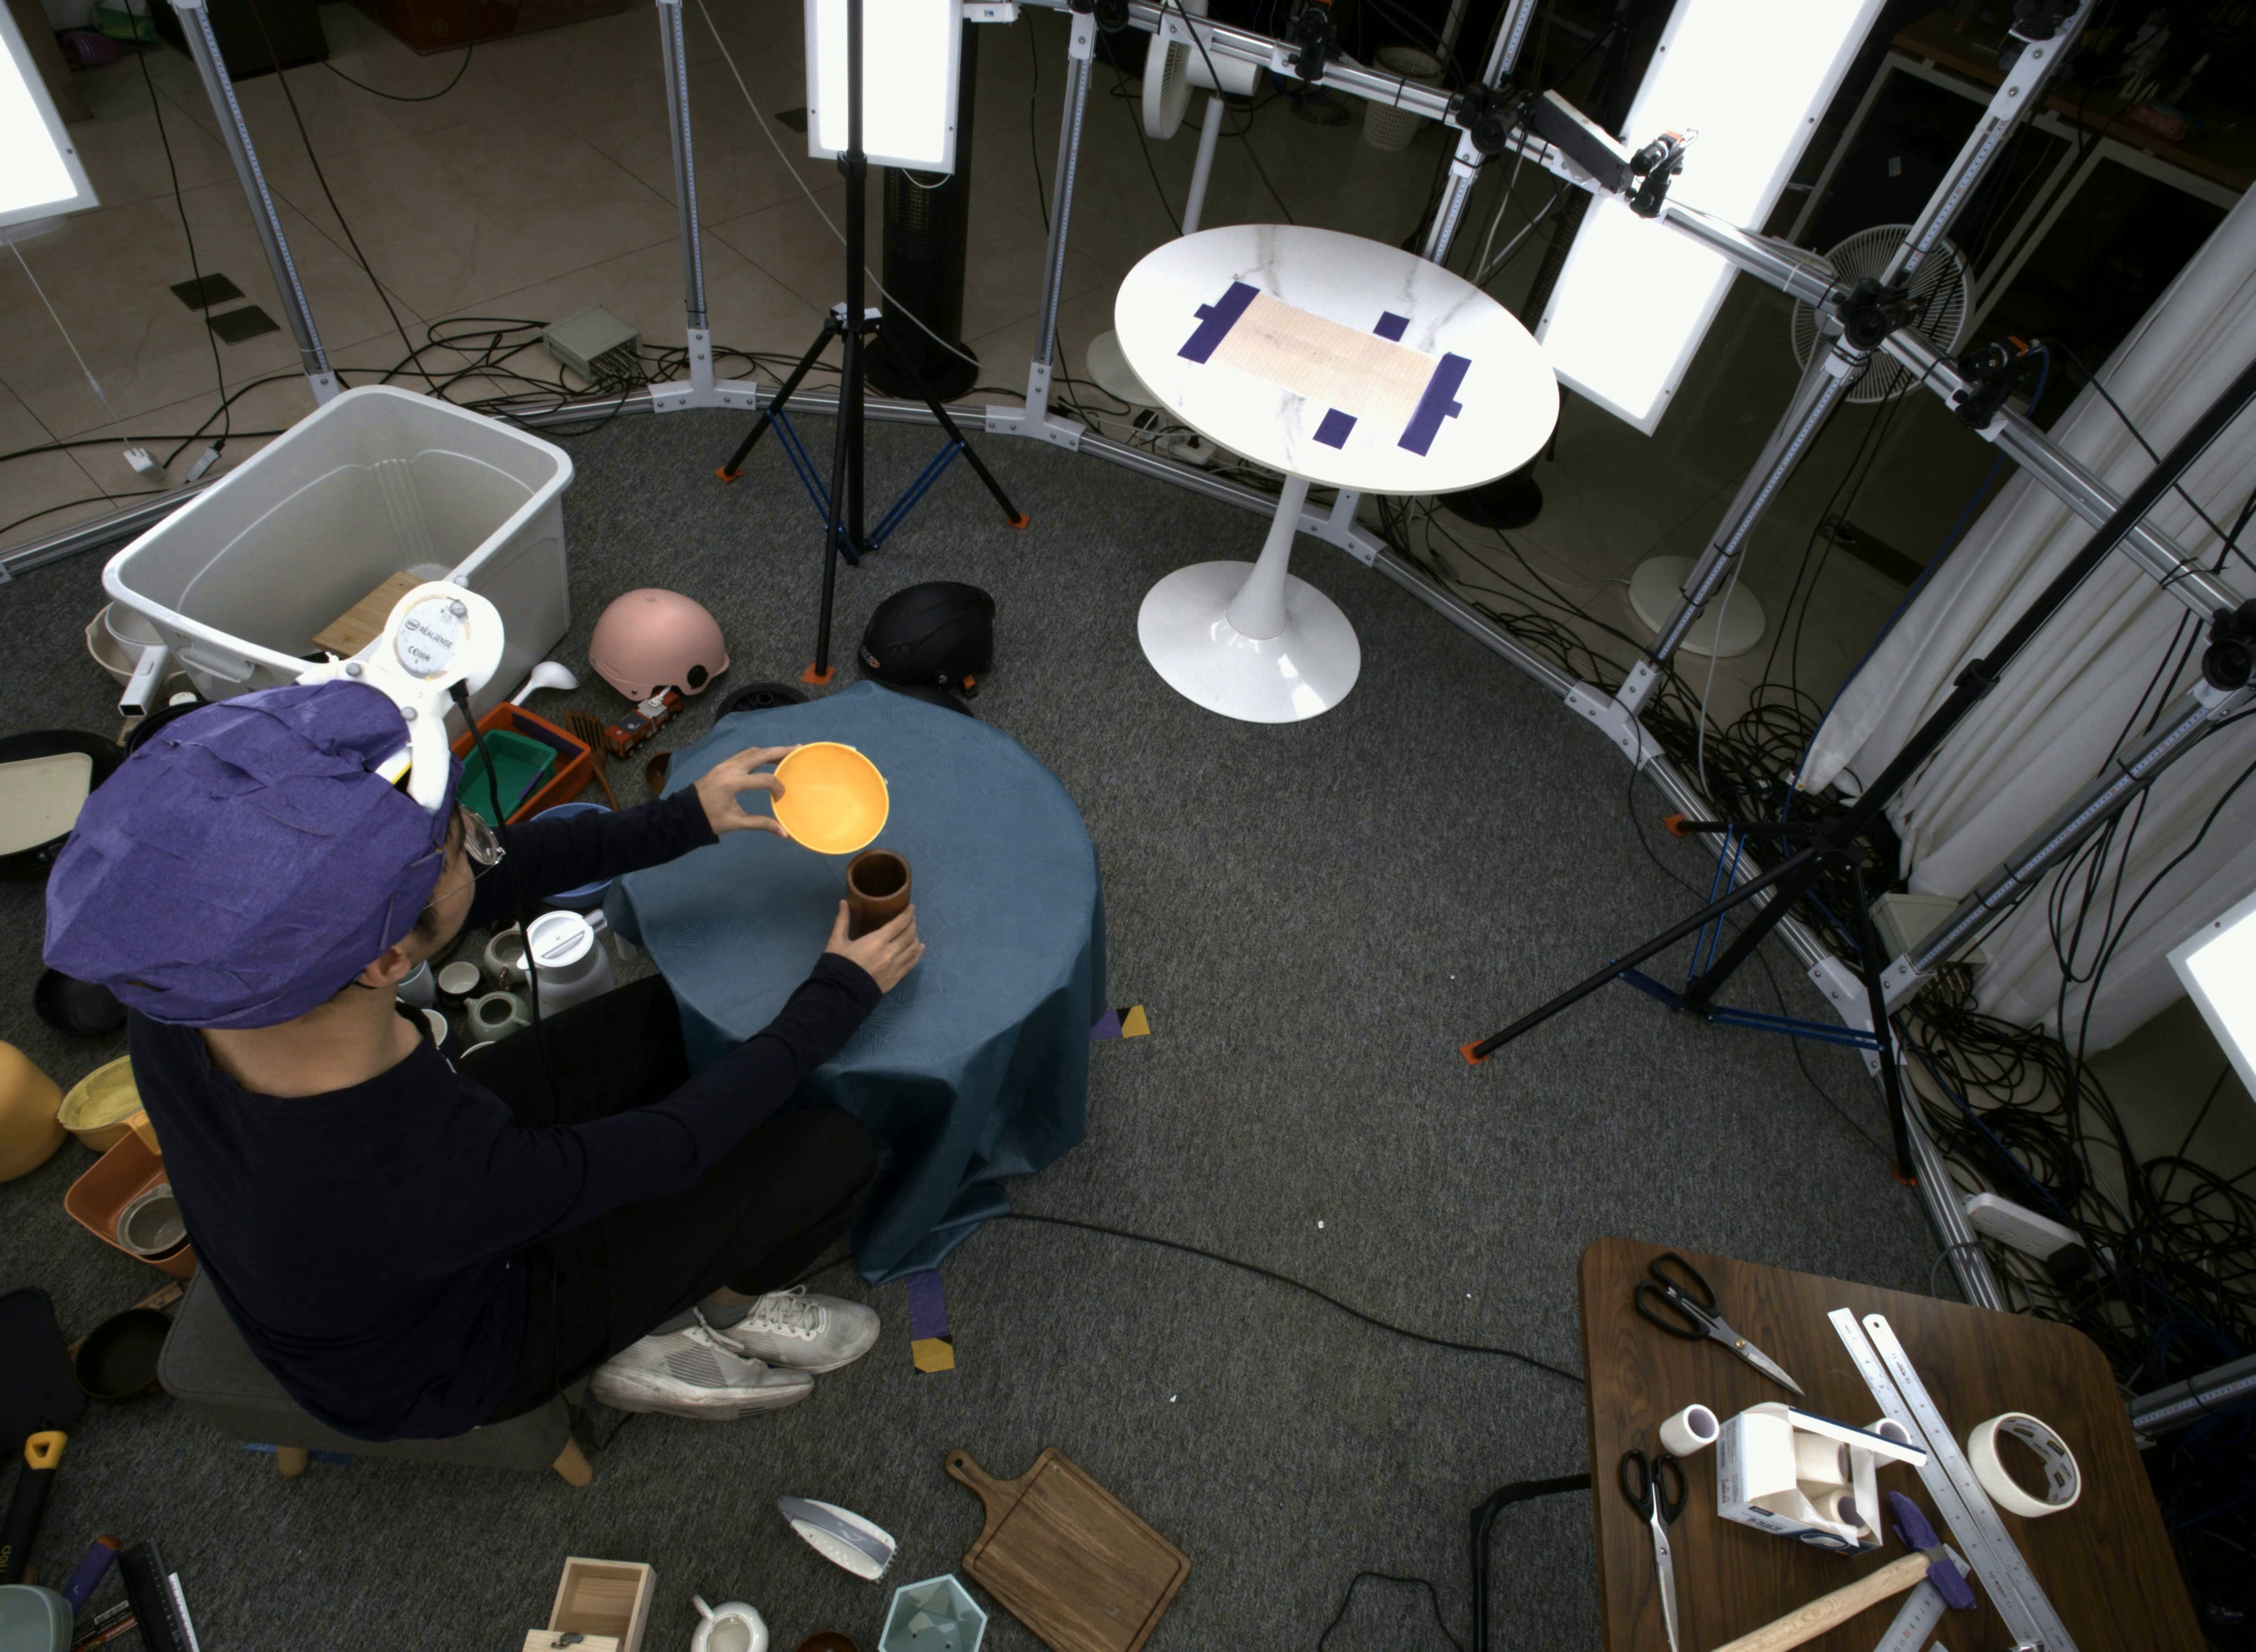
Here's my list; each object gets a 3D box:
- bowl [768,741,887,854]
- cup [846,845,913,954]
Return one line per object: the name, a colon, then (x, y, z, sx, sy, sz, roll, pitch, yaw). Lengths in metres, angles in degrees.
bowl: (-0.373, -0.027, 1.594, 0.147, 0.060, 0.144, 10, 68, -24)
cup: (-0.307, 0.091, 1.610, 0.087, 0.121, 0.086, 6, 50, -5)
